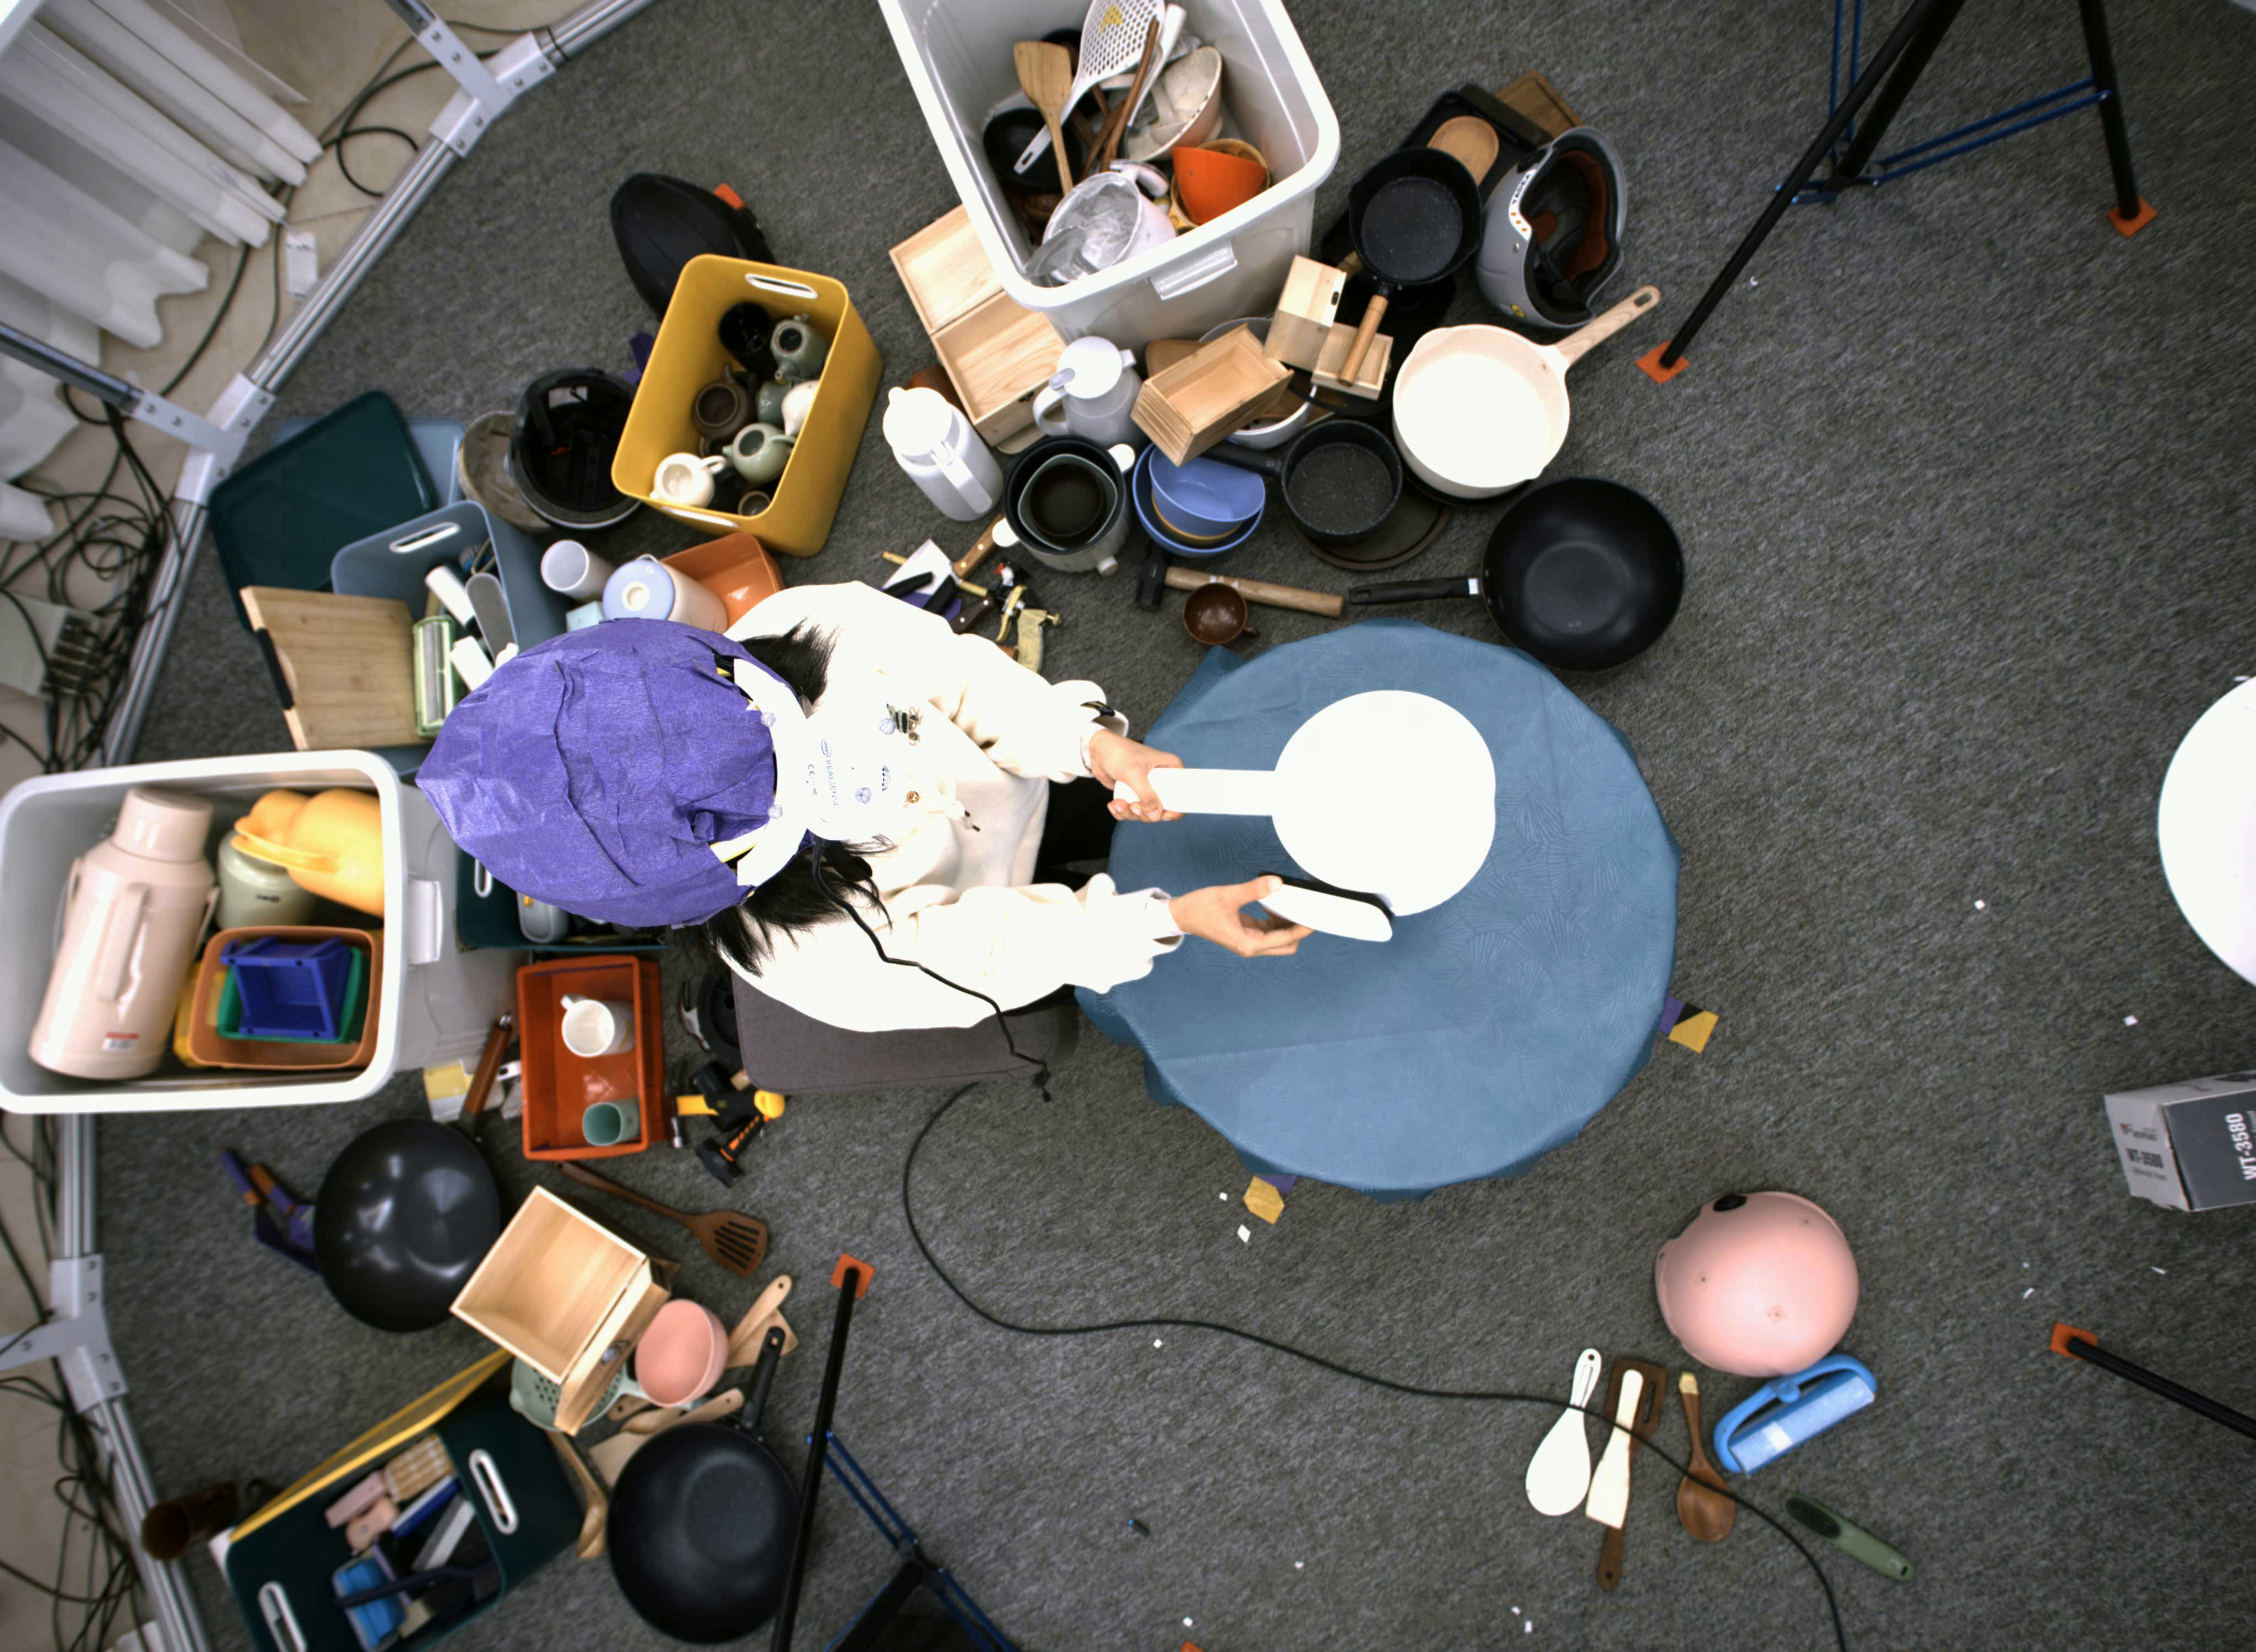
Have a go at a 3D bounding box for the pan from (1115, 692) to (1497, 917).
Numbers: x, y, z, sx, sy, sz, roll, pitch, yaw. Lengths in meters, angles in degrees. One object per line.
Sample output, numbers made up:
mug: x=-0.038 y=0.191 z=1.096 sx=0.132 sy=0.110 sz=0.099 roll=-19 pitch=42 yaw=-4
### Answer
pan: x=0.169 y=-0.017 z=1.304 sx=0.357 sy=0.103 sz=0.197 roll=0 pitch=67 yaw=22

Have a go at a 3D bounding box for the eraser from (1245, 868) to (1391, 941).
eraser: x=0.170 y=0.072 z=1.250 sx=0.131 sy=0.064 sz=0.034 roll=11 pitch=71 yaw=34
